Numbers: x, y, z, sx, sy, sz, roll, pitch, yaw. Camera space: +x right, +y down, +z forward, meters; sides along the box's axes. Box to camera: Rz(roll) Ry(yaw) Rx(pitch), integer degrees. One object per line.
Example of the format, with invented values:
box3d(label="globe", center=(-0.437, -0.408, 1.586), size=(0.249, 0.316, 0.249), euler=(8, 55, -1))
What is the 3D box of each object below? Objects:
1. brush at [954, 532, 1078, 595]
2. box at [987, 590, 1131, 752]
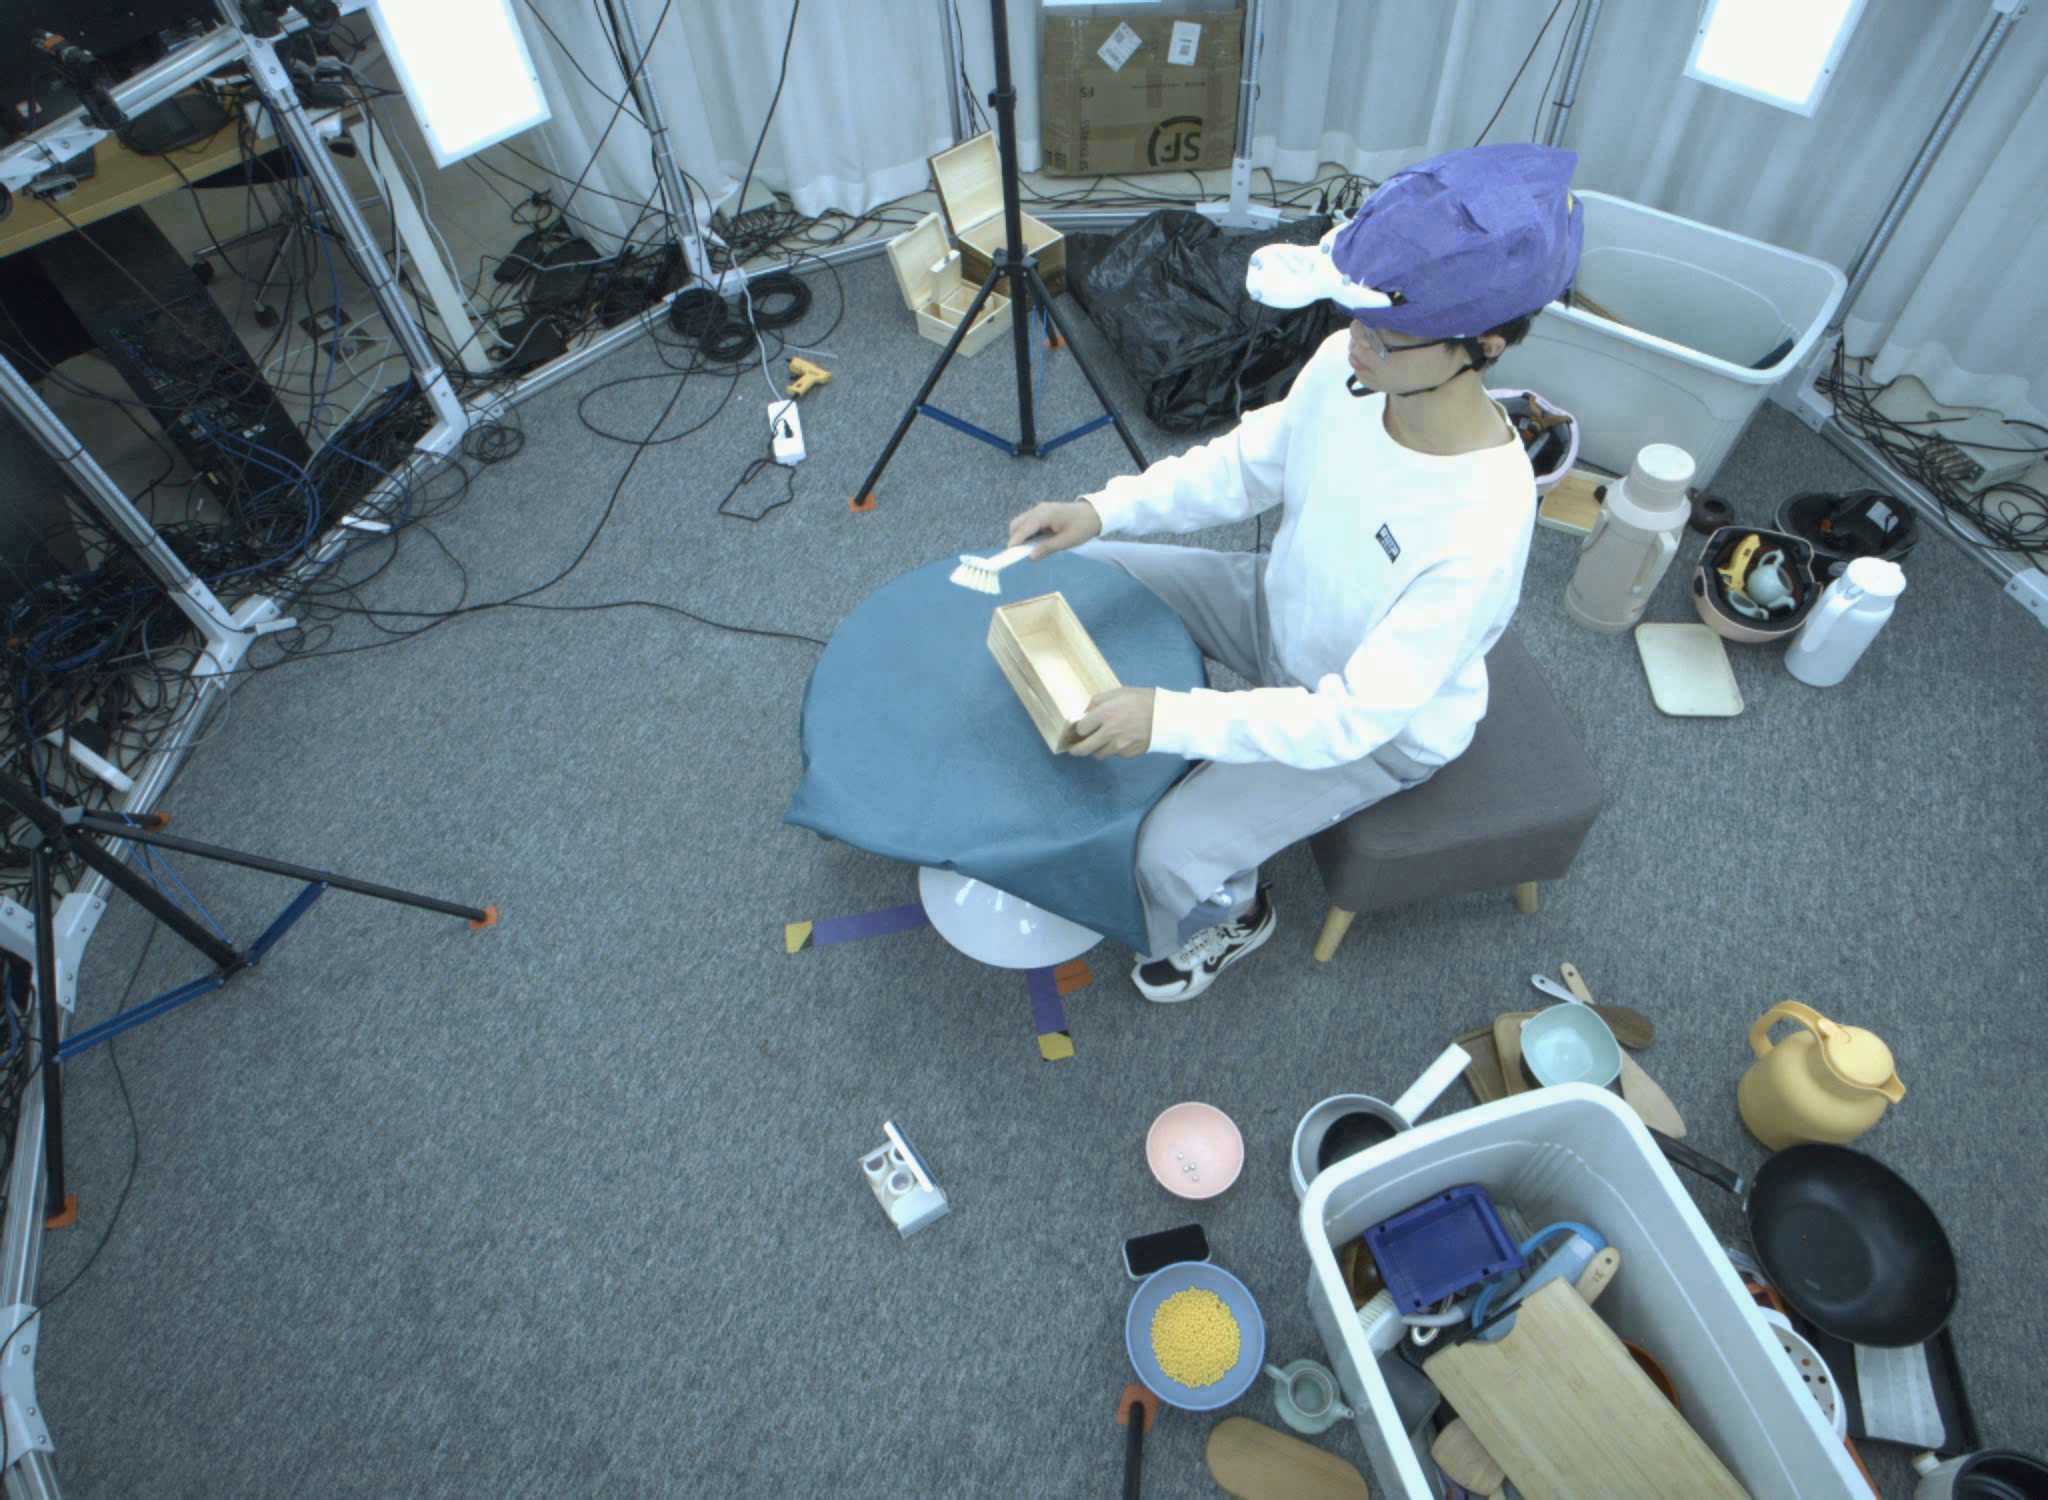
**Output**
box3d(label="brush", center=(-0.004, -0.276, 1.795), size=(0.067, 0.056, 0.270), euler=(34, 31, 22))
box3d(label="box", center=(0.046, -0.113, 1.725), size=(0.109, 0.080, 0.208), euler=(-18, 62, -26))
